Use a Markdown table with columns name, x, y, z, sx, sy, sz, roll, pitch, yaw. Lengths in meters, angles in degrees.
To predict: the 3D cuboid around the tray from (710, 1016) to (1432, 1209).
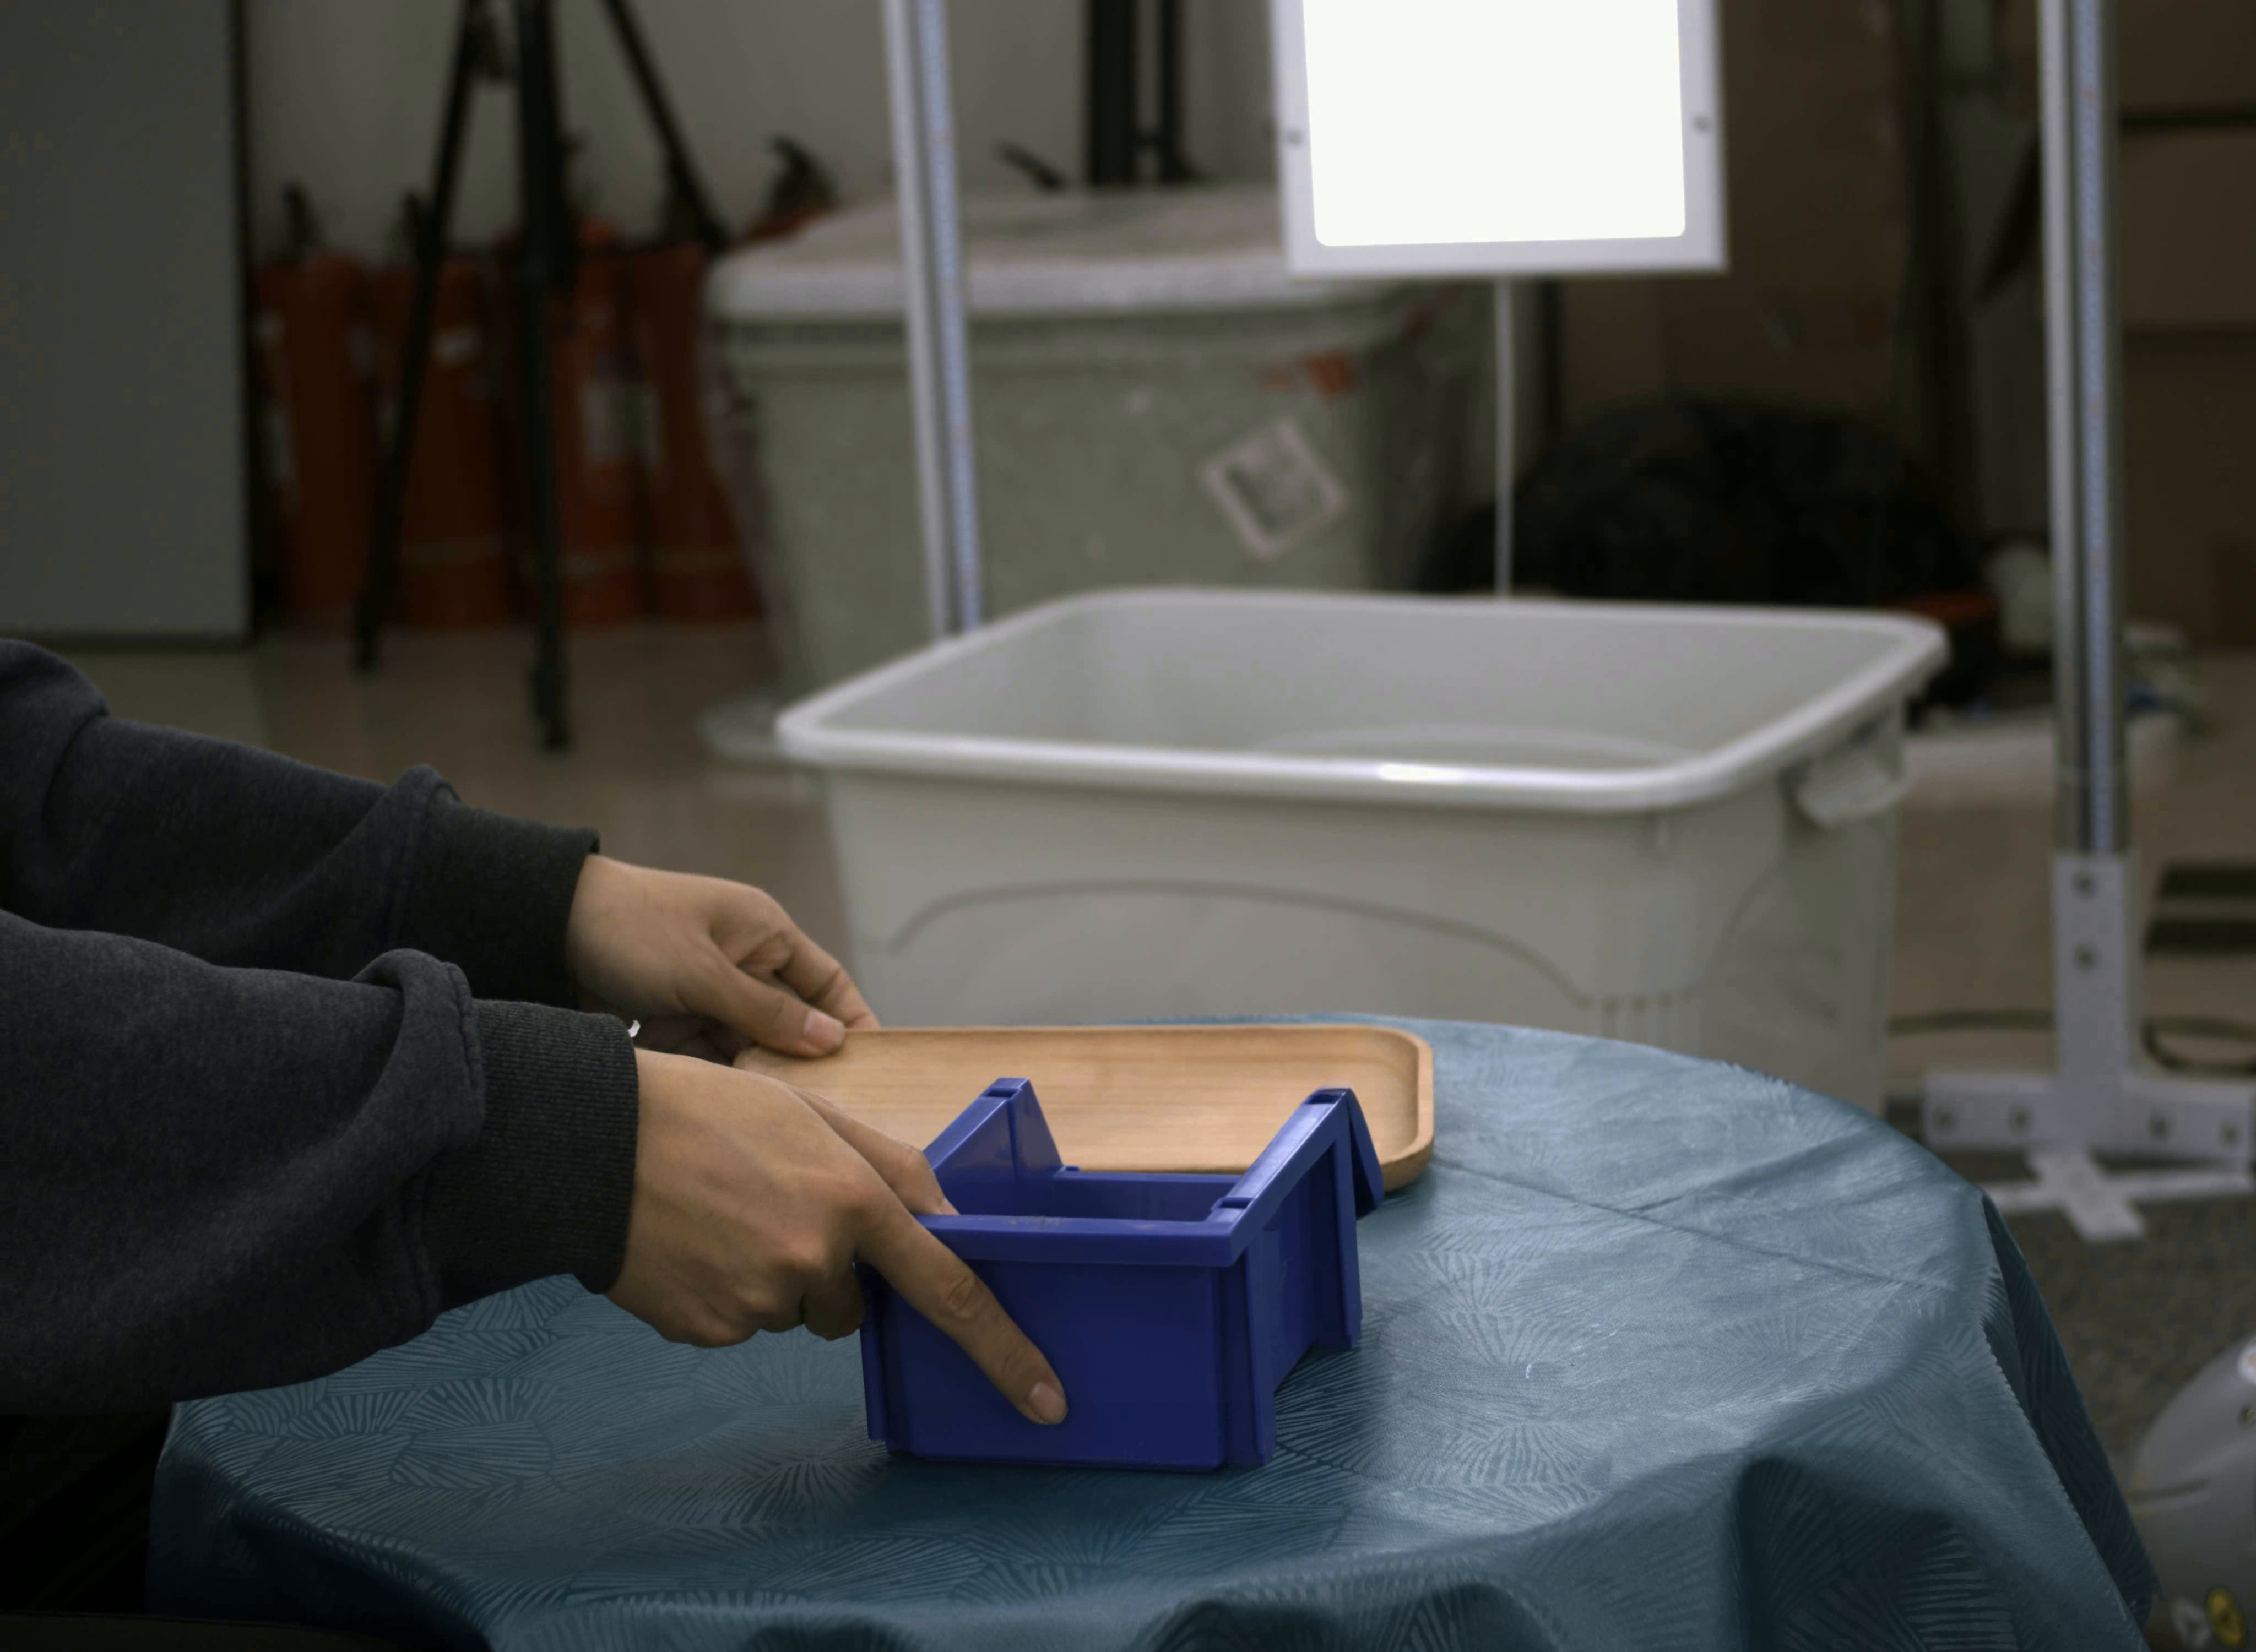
| name | x | y | z | sx | sy | sz | roll | pitch | yaw |
| --- | --- | --- | --- | --- | --- | --- | --- | --- | --- |
| tray | -0.018 | 0.100 | 1.927 | 0.251 | 0.023 | 0.129 | -2 | 19 | 7 |

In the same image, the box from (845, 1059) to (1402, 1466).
| name | x | y | z | sx | sy | sz | roll | pitch | yaw |
| --- | --- | --- | --- | --- | --- | --- | --- | --- | --- |
| box | 0.001 | 0.130 | 1.709 | 0.126 | 0.082 | 0.176 | 0 | 18 | 20 |
